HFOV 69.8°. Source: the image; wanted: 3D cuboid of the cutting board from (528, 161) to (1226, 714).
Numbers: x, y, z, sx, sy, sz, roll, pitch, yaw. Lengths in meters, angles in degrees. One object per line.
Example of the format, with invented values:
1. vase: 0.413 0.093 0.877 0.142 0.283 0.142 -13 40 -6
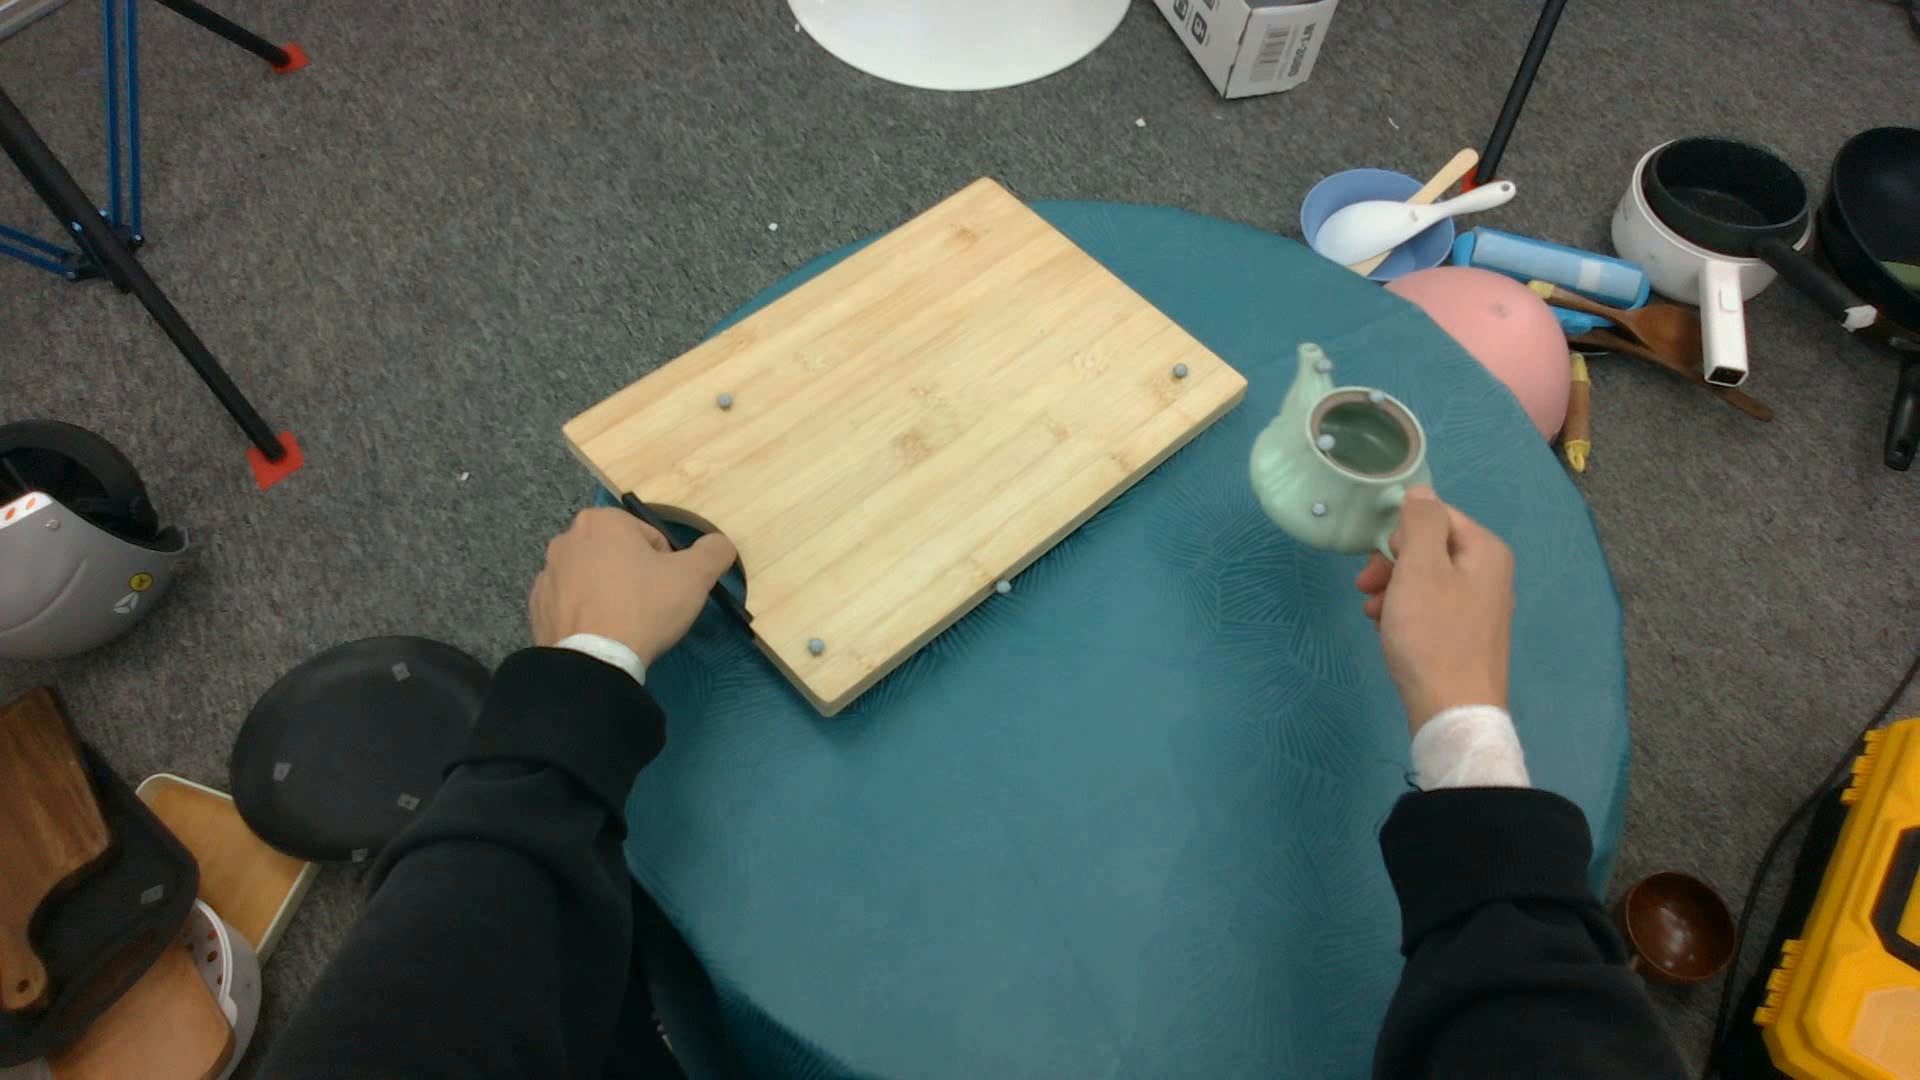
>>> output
1. cutting board: -0.040 -0.082 0.825 0.251 0.023 0.350 41 62 21

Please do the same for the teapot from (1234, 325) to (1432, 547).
1. teapot: 0.198 -0.047 0.724 0.096 0.061 0.137 -19 60 -19
